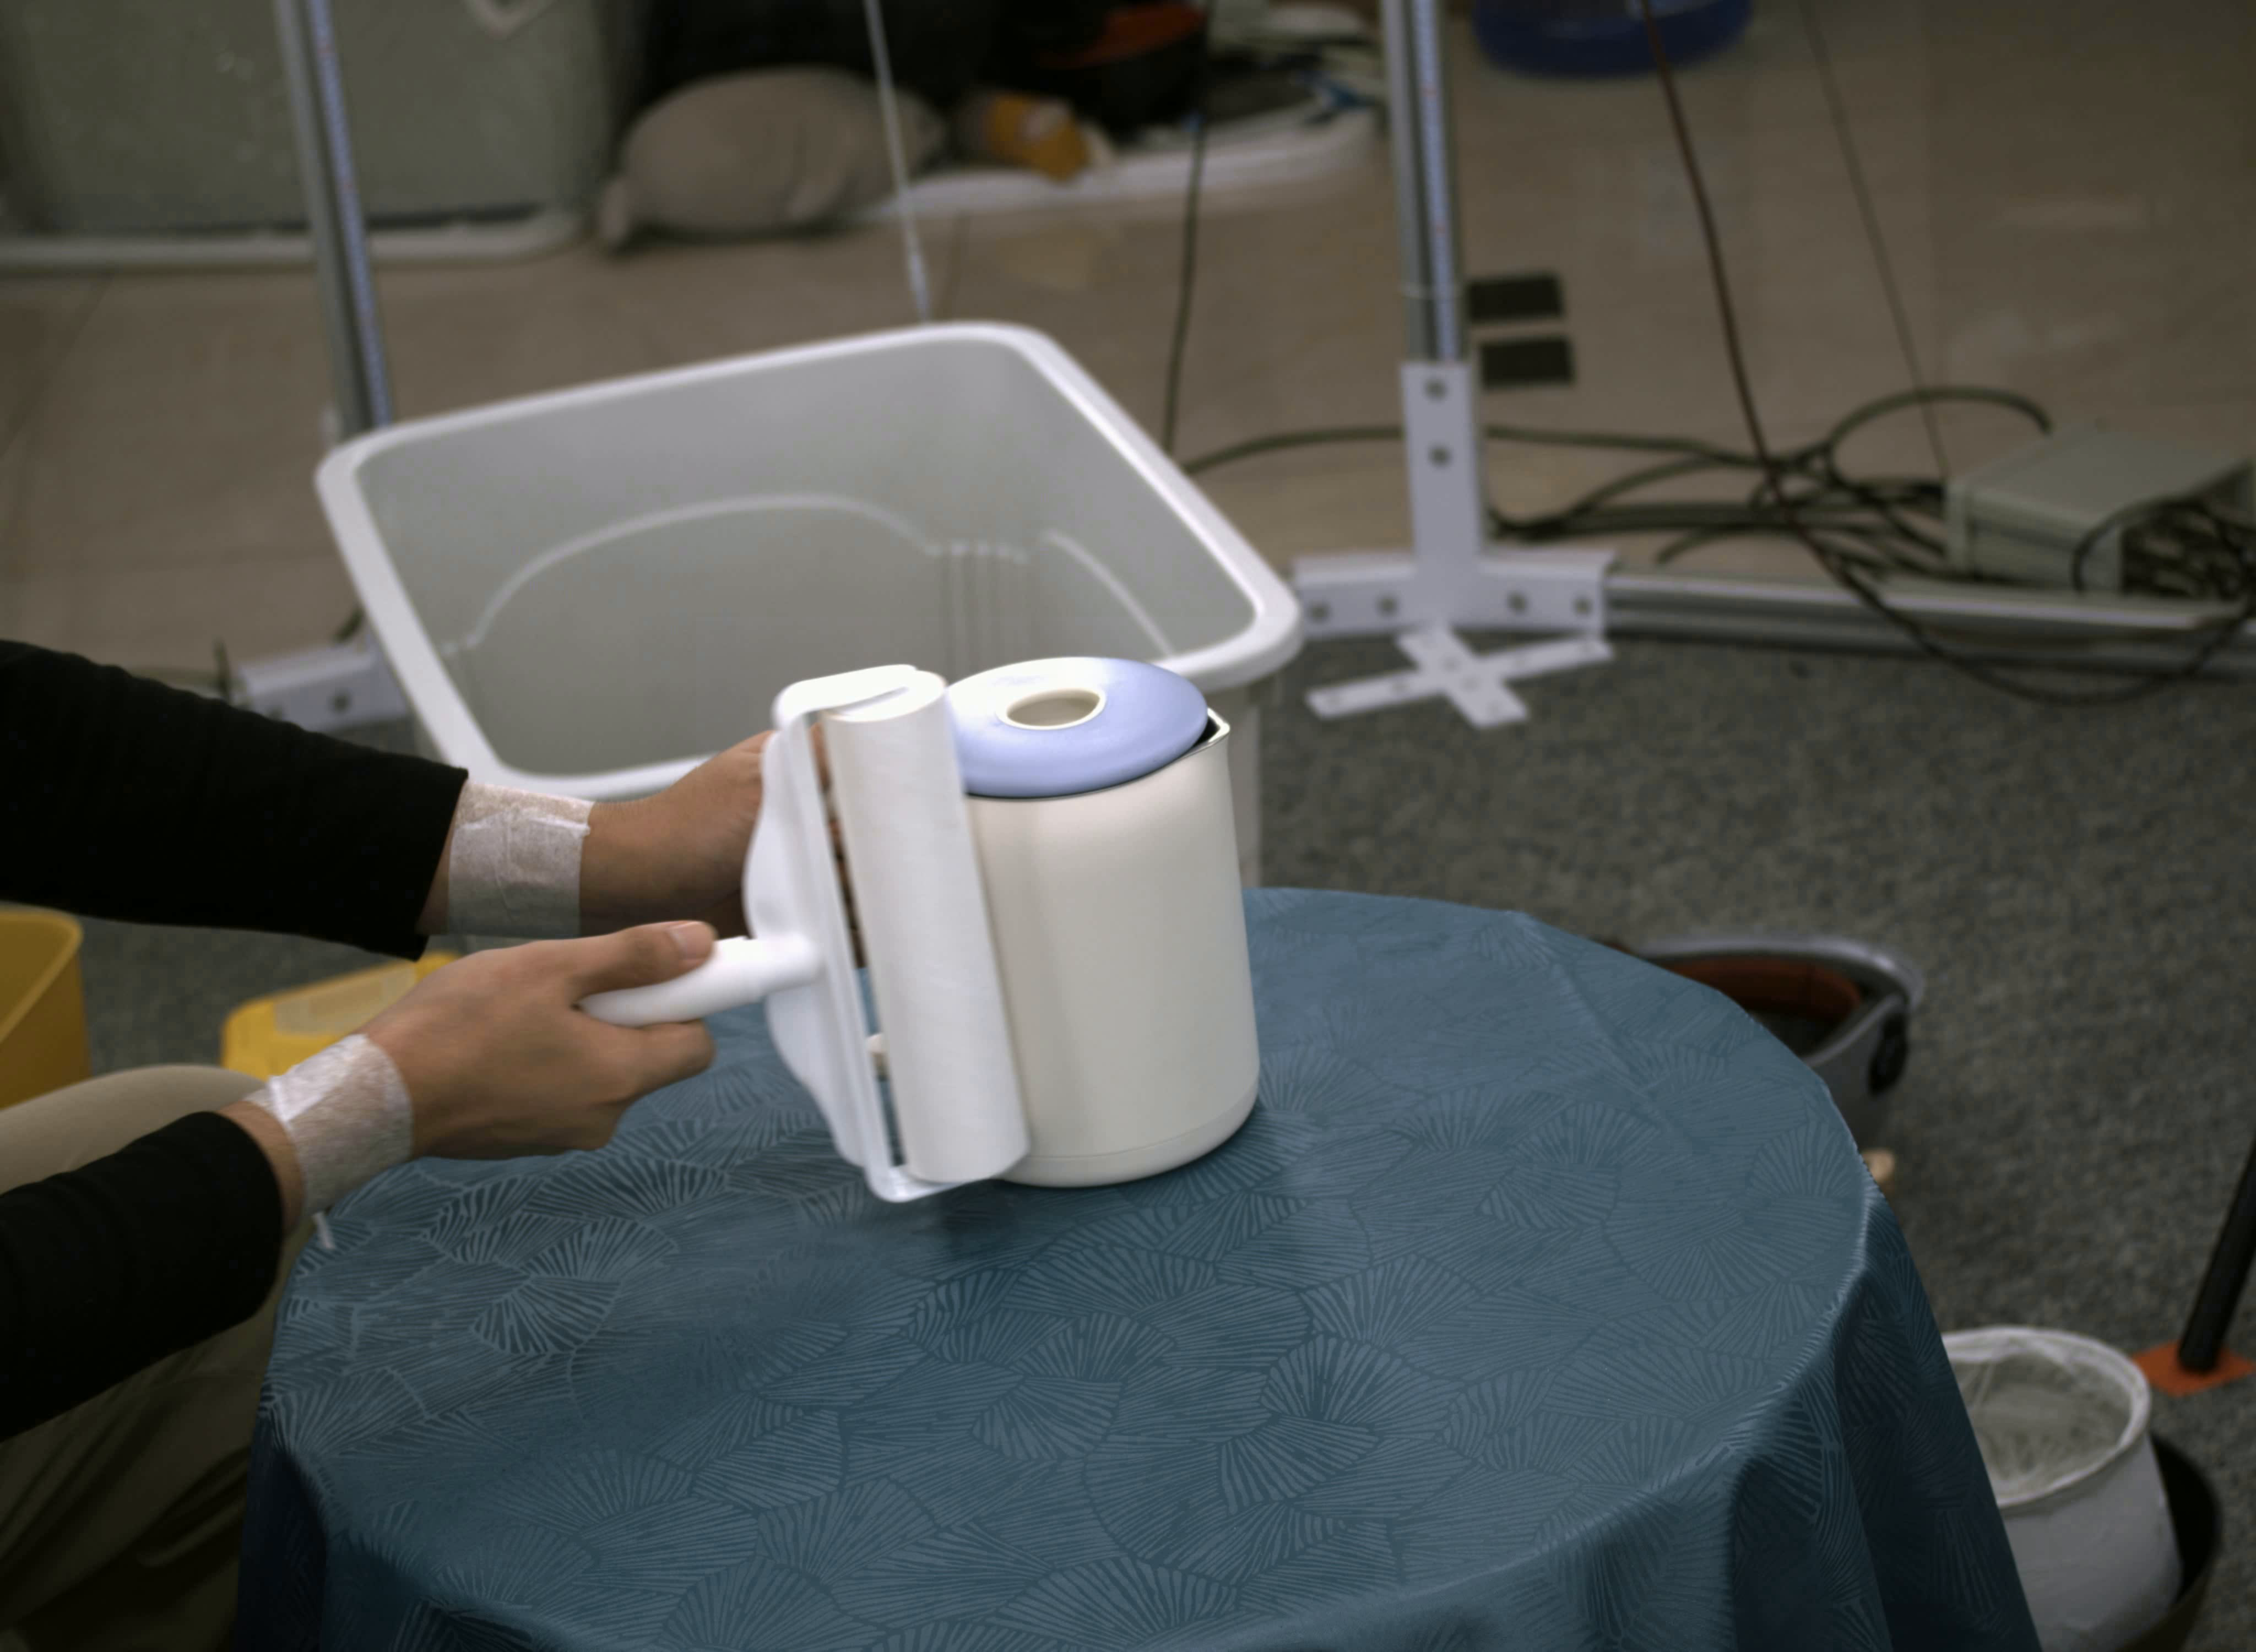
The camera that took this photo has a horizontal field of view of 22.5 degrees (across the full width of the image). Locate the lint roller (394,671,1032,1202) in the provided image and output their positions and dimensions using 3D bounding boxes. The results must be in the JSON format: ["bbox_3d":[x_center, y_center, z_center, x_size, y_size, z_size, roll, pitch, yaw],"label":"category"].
[{"bbox_3d":[-0.157,0.059,2.073,0.225,0.206,0.047,-14,26,-8],"label":"lint roller"}]

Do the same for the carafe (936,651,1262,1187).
[{"bbox_3d":[-0.045,0.036,2.173,0.191,0.185,0.130,-3,25,11],"label":"carafe"}]
